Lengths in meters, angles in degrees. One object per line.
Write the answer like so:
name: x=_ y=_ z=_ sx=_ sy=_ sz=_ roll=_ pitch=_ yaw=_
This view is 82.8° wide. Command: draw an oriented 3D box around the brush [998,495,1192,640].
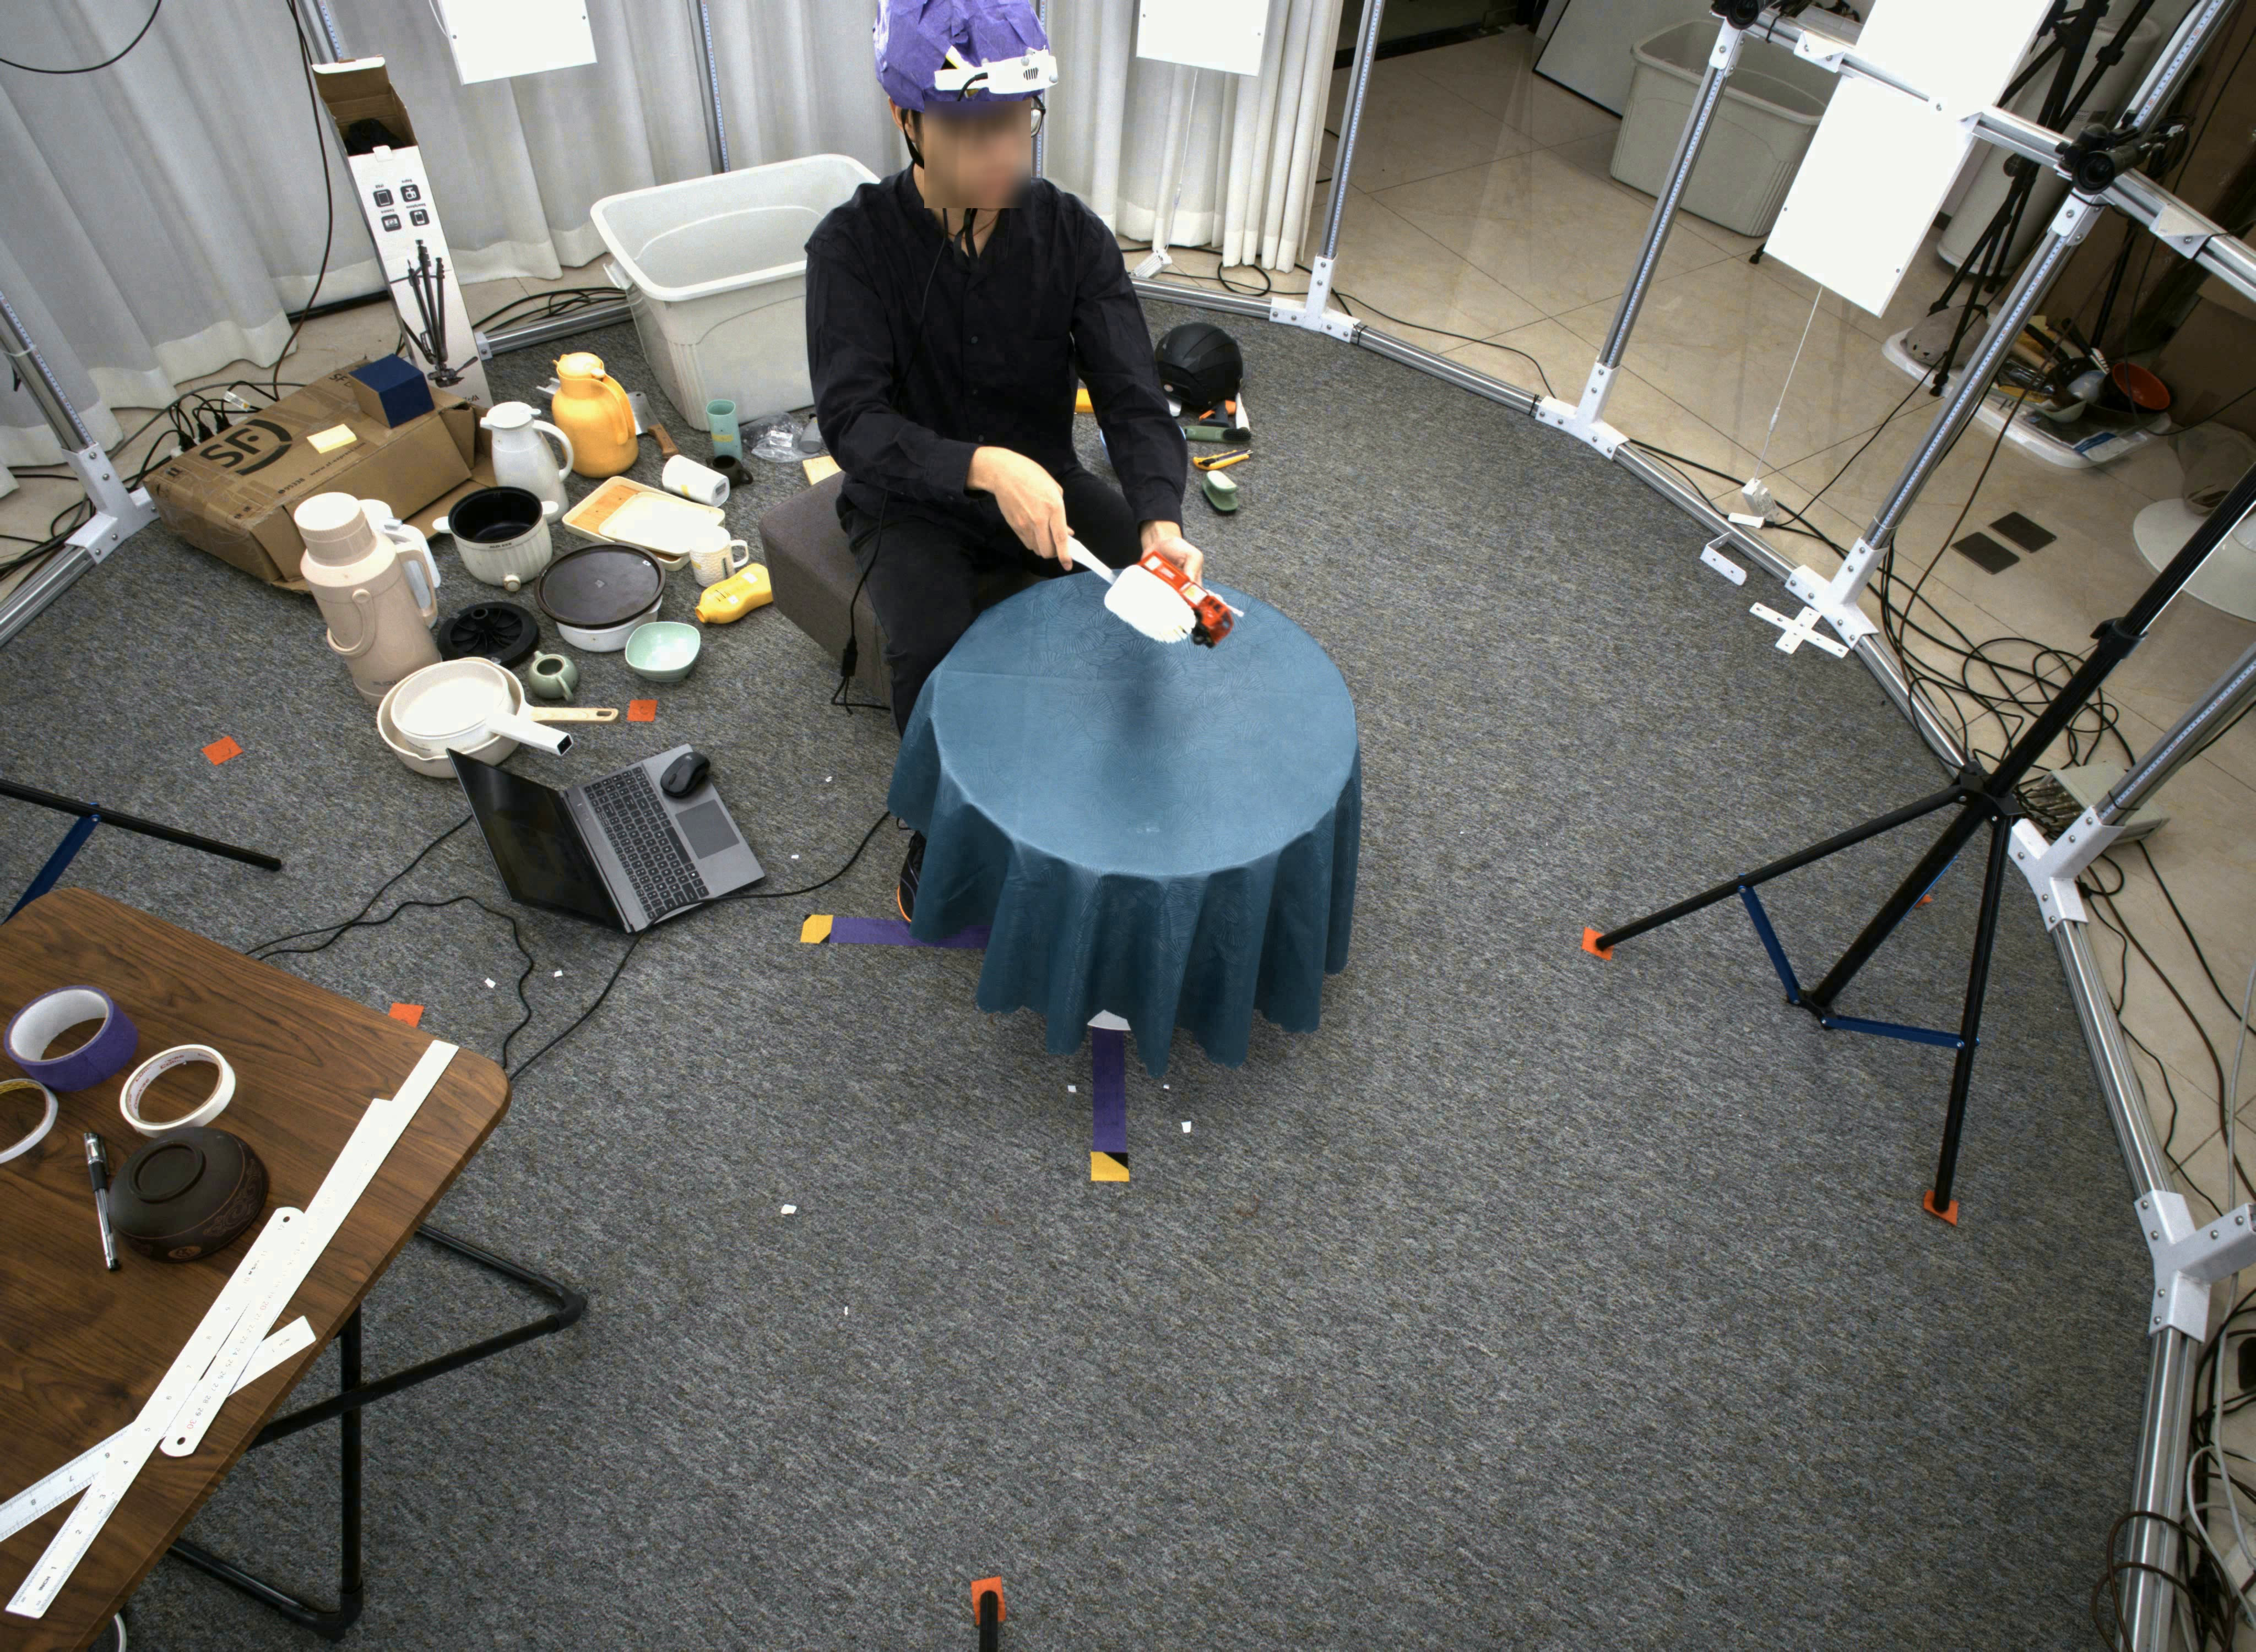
brush: x=-0.039 y=-0.341 z=1.680 sx=0.330 sy=0.082 sz=0.084 roll=38 pitch=57 yaw=25

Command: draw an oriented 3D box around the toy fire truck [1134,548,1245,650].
toy fire truck: x=0.073 y=-0.296 z=1.669 sx=0.070 sy=0.053 sz=0.171 roll=-41 pitch=55 yaw=-7
